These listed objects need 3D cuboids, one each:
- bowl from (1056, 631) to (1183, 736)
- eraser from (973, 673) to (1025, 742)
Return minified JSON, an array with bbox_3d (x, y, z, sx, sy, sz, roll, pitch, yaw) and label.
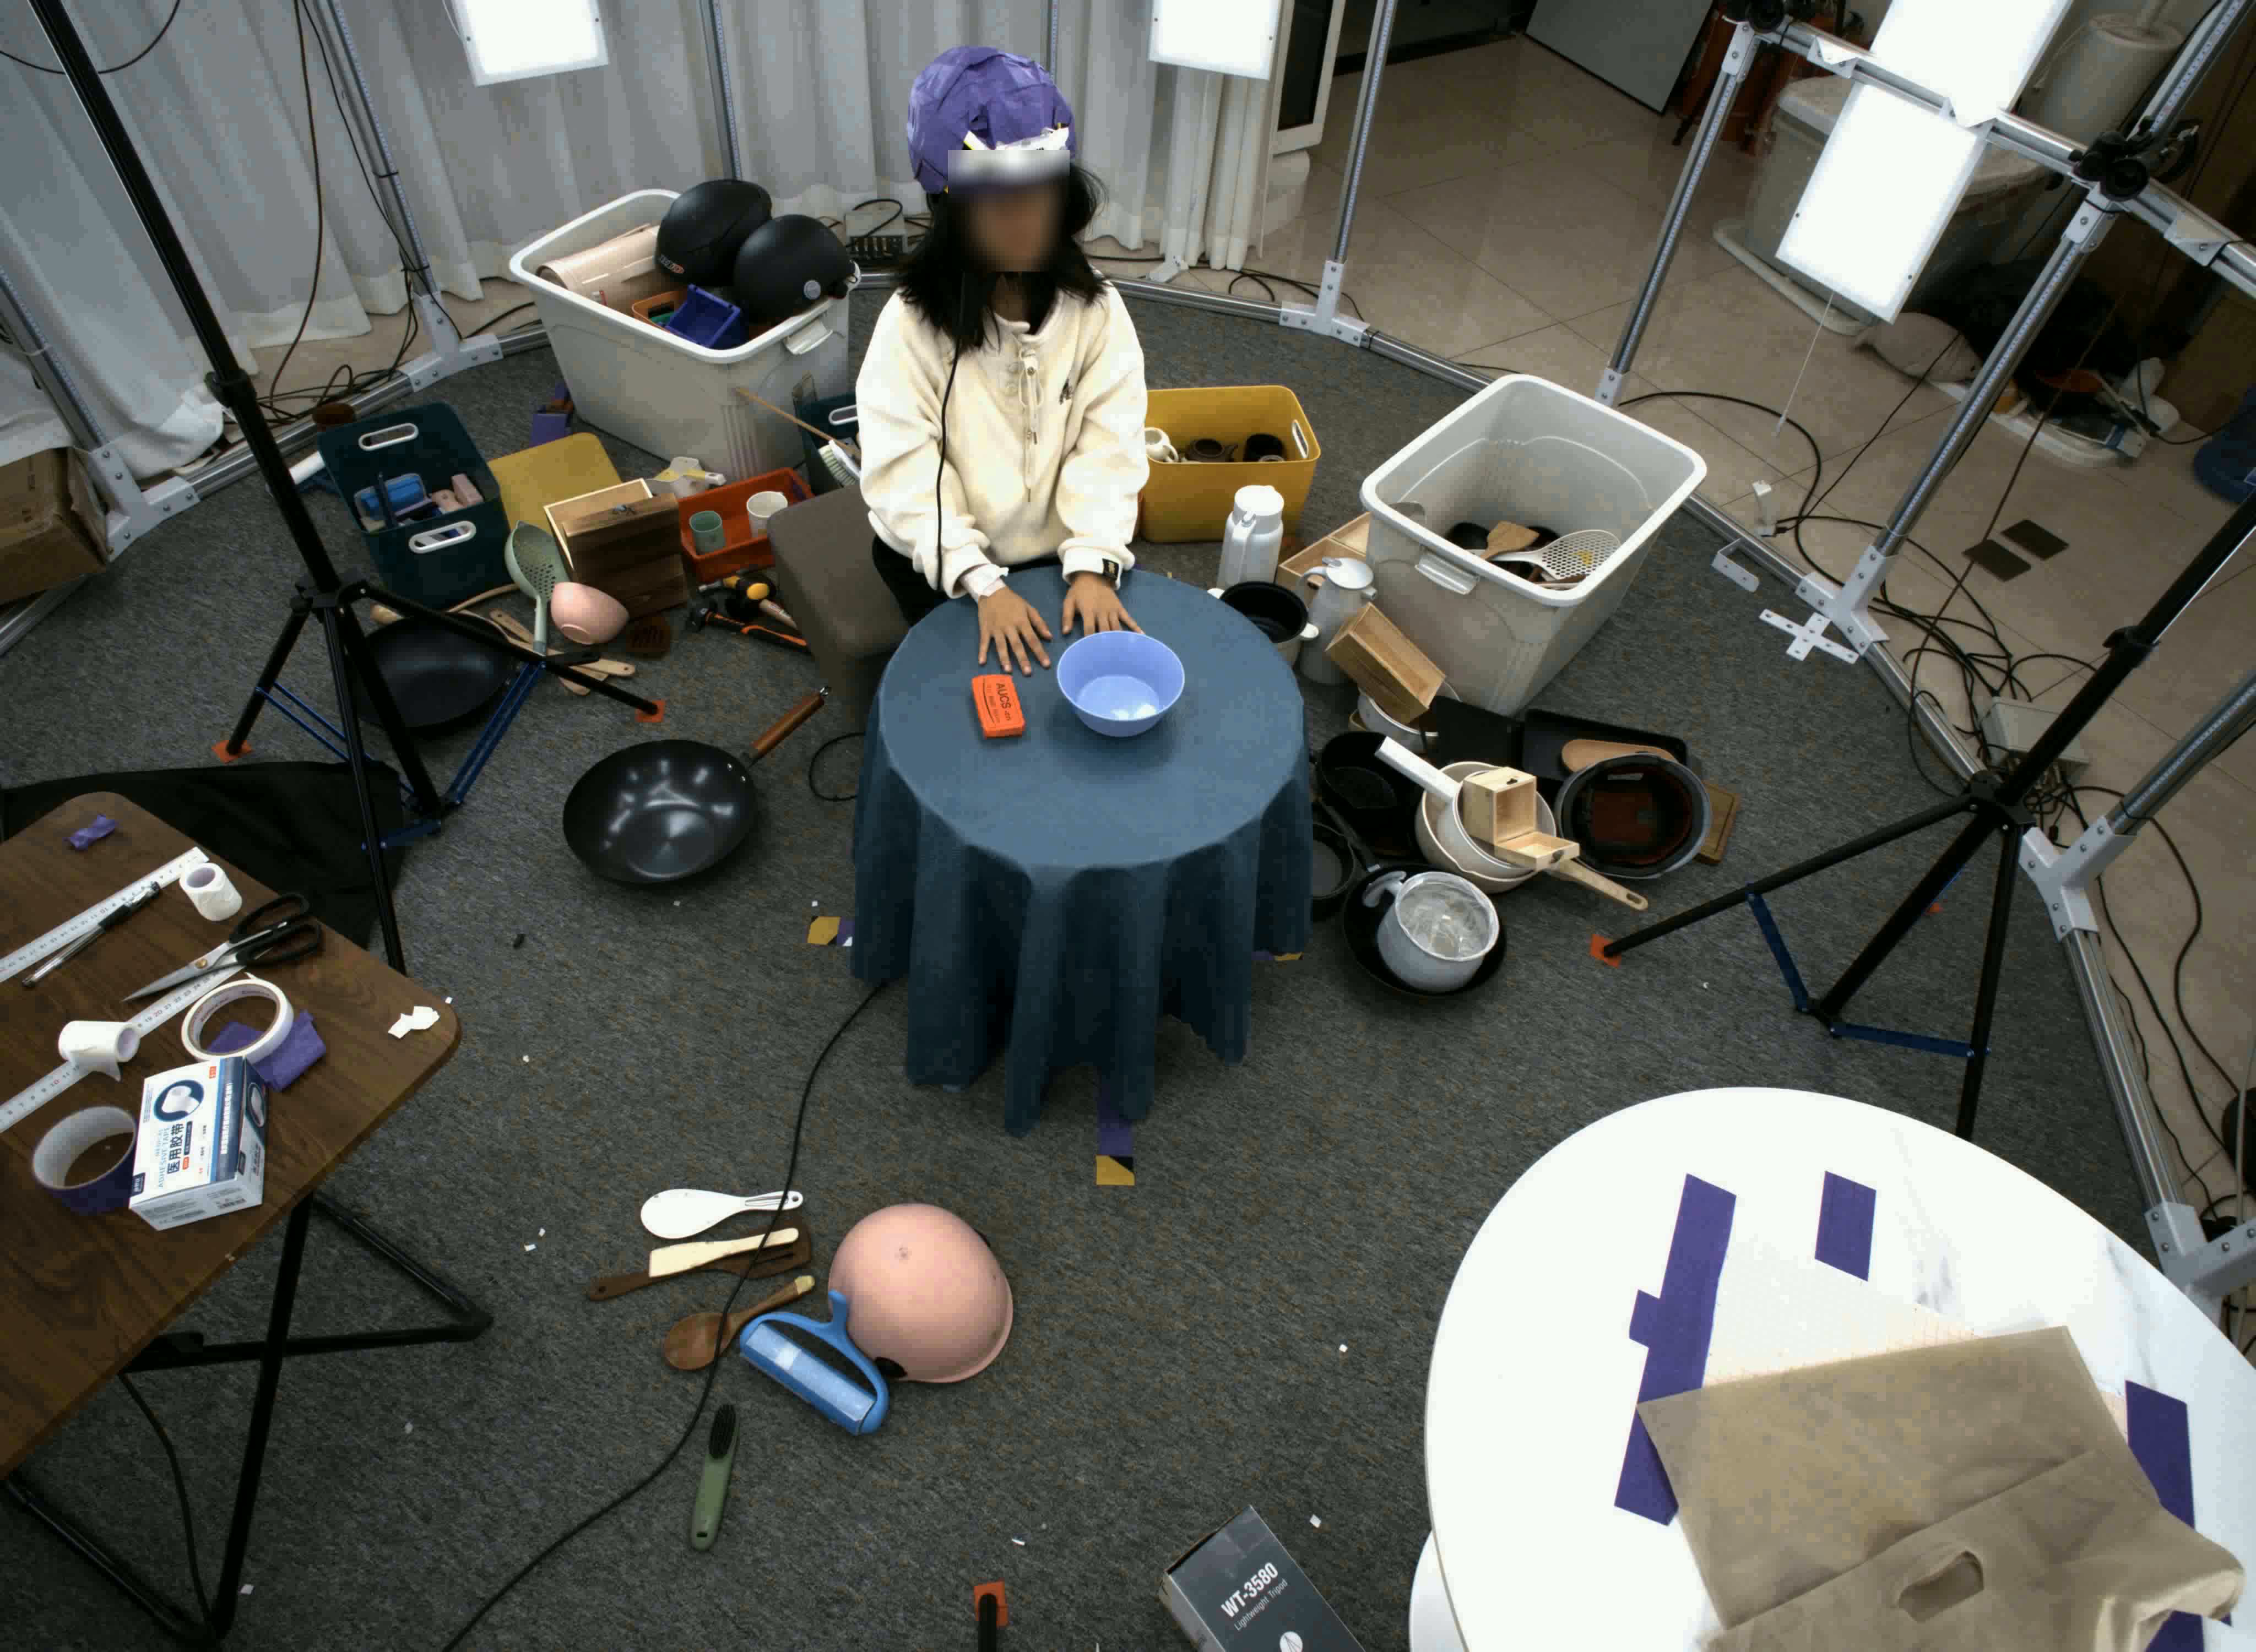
[{"bbox_3d":[-0.013,-0.190,1.788,0.176,0.068,0.180,2,49,-2],"label":"bowl"},{"bbox_3d":[-0.180,-0.166,1.787,0.059,0.022,0.111,-10,51,-9],"label":"eraser"}]
